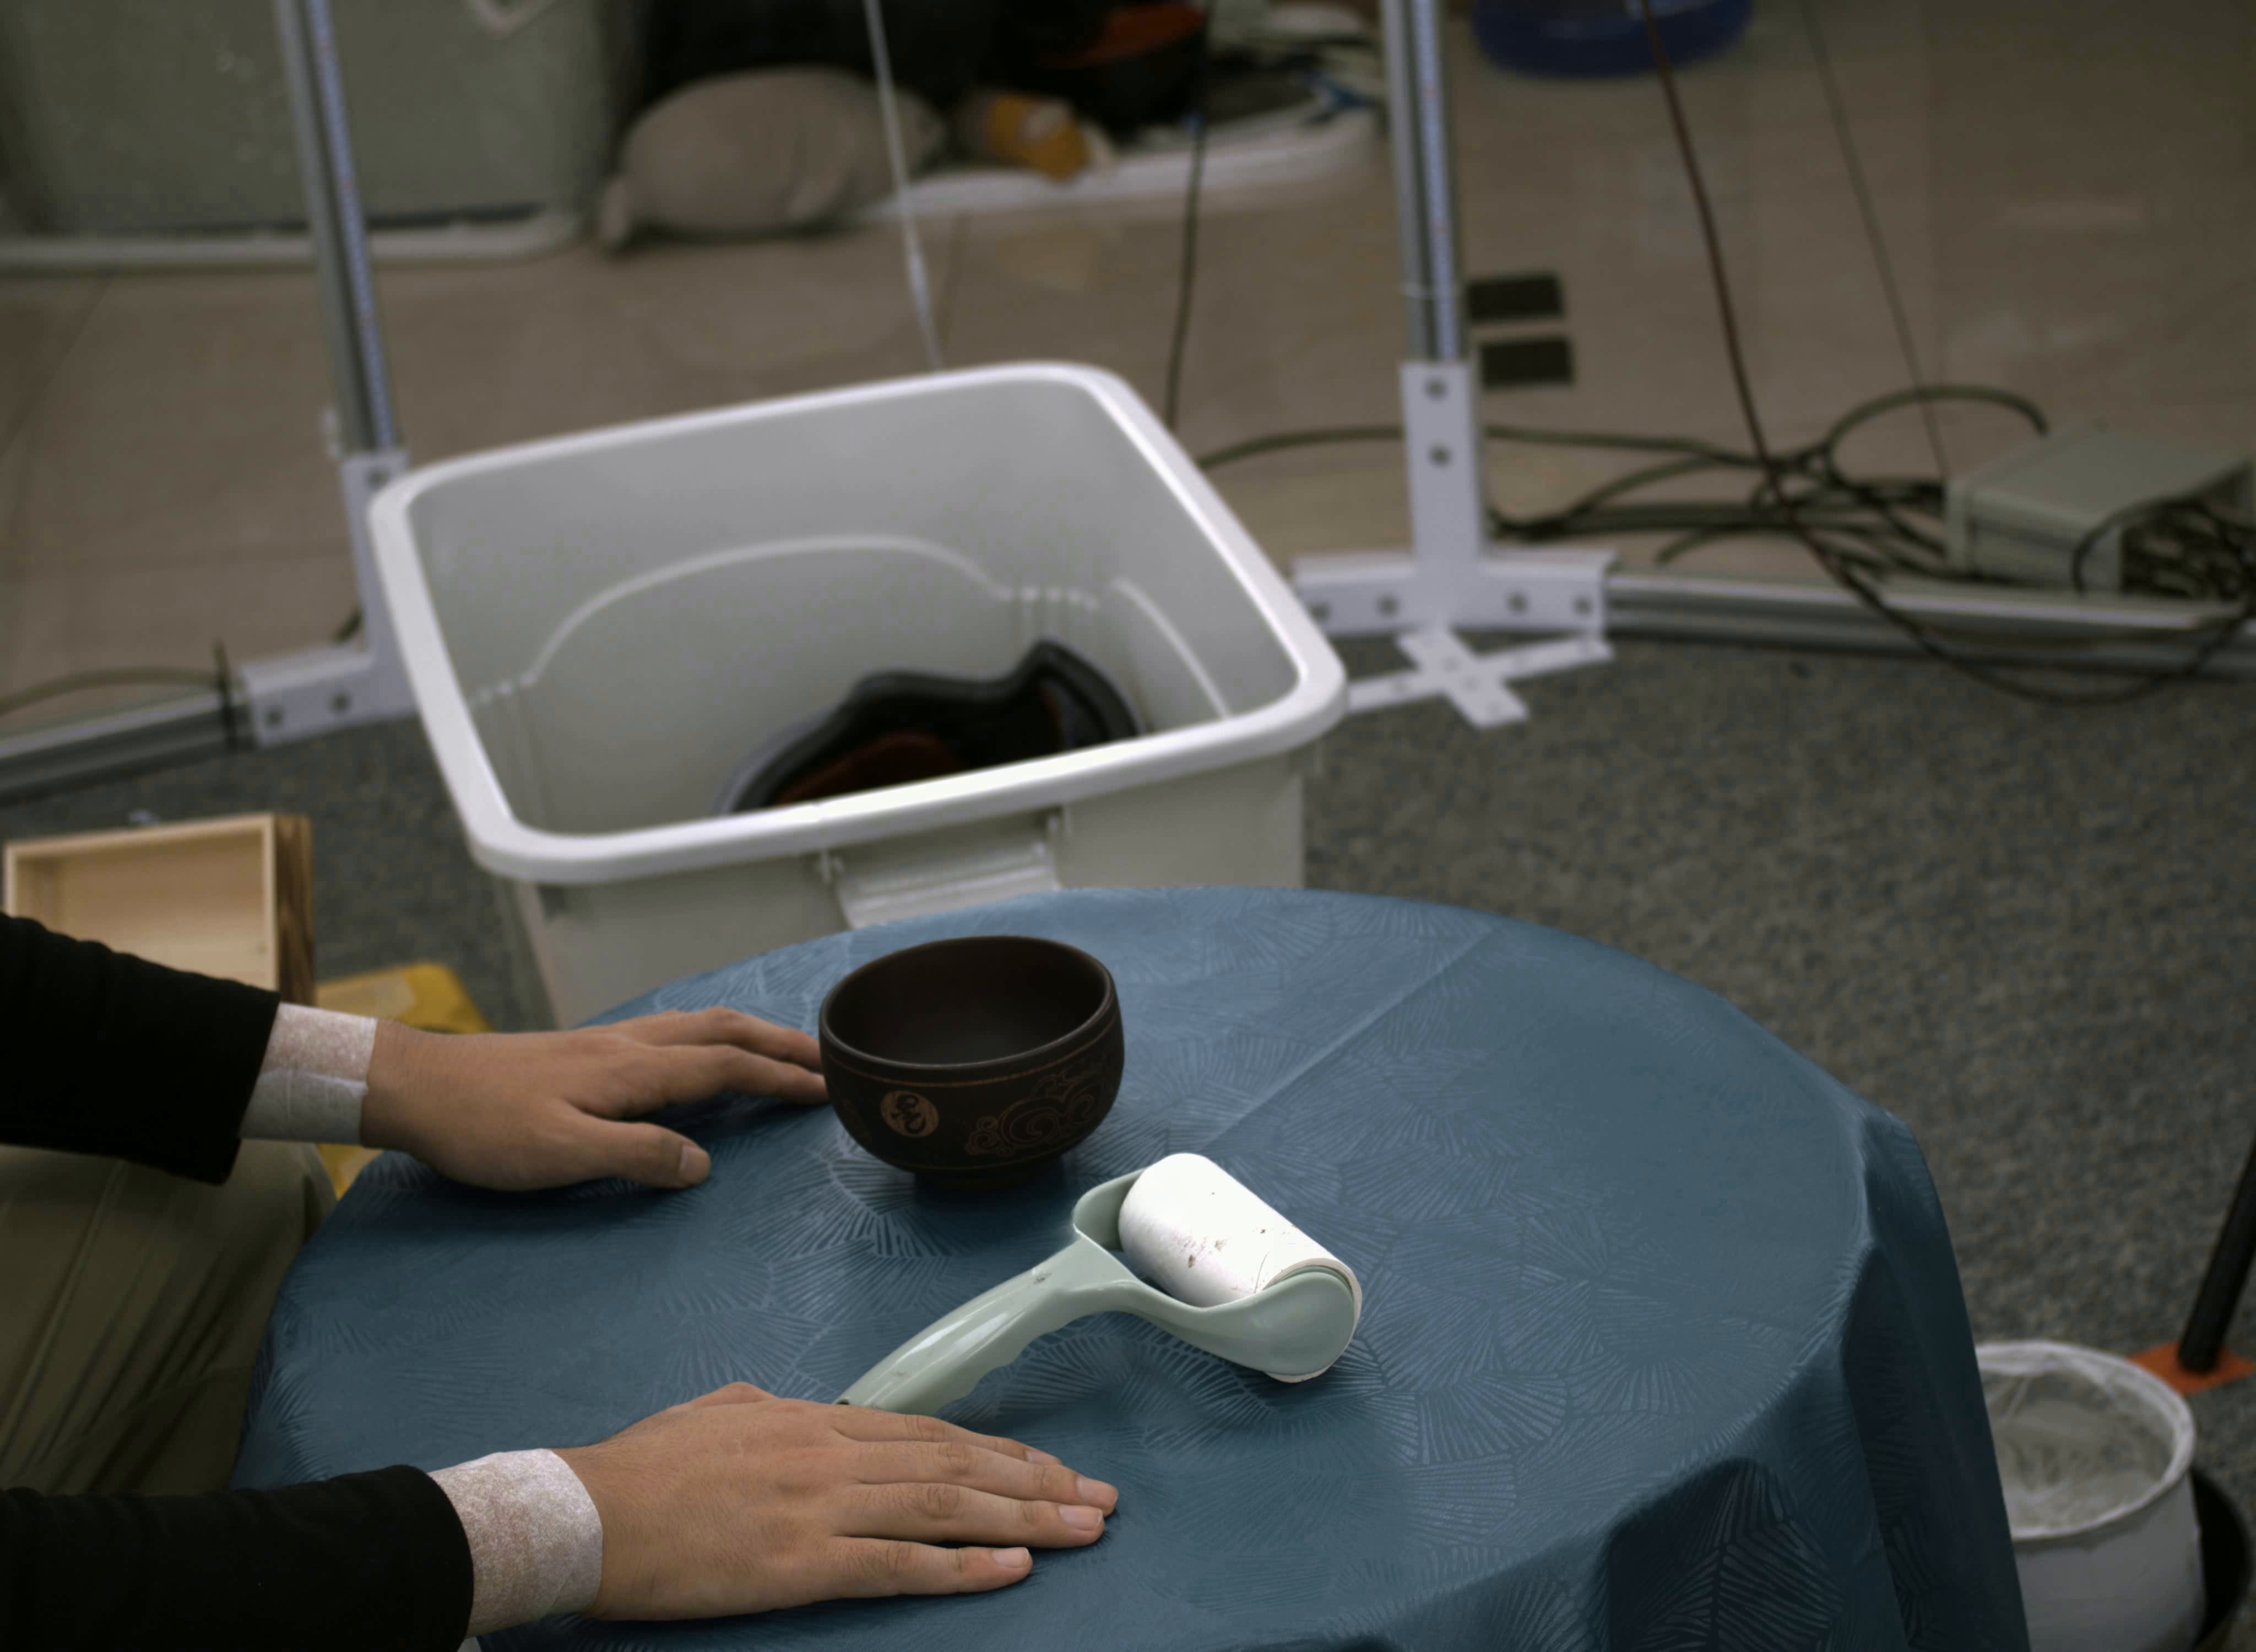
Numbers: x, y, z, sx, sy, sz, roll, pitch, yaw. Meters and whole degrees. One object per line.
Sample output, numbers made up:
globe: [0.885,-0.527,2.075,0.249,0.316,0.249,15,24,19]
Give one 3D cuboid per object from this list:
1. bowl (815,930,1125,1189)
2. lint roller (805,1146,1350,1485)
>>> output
bowl: [-0.058,0.095,2.169,0.118,0.071,0.116,-6,26,3]
lint roller: [-0.029,0.178,2.019,0.196,0.049,0.115,-19,28,-21]
